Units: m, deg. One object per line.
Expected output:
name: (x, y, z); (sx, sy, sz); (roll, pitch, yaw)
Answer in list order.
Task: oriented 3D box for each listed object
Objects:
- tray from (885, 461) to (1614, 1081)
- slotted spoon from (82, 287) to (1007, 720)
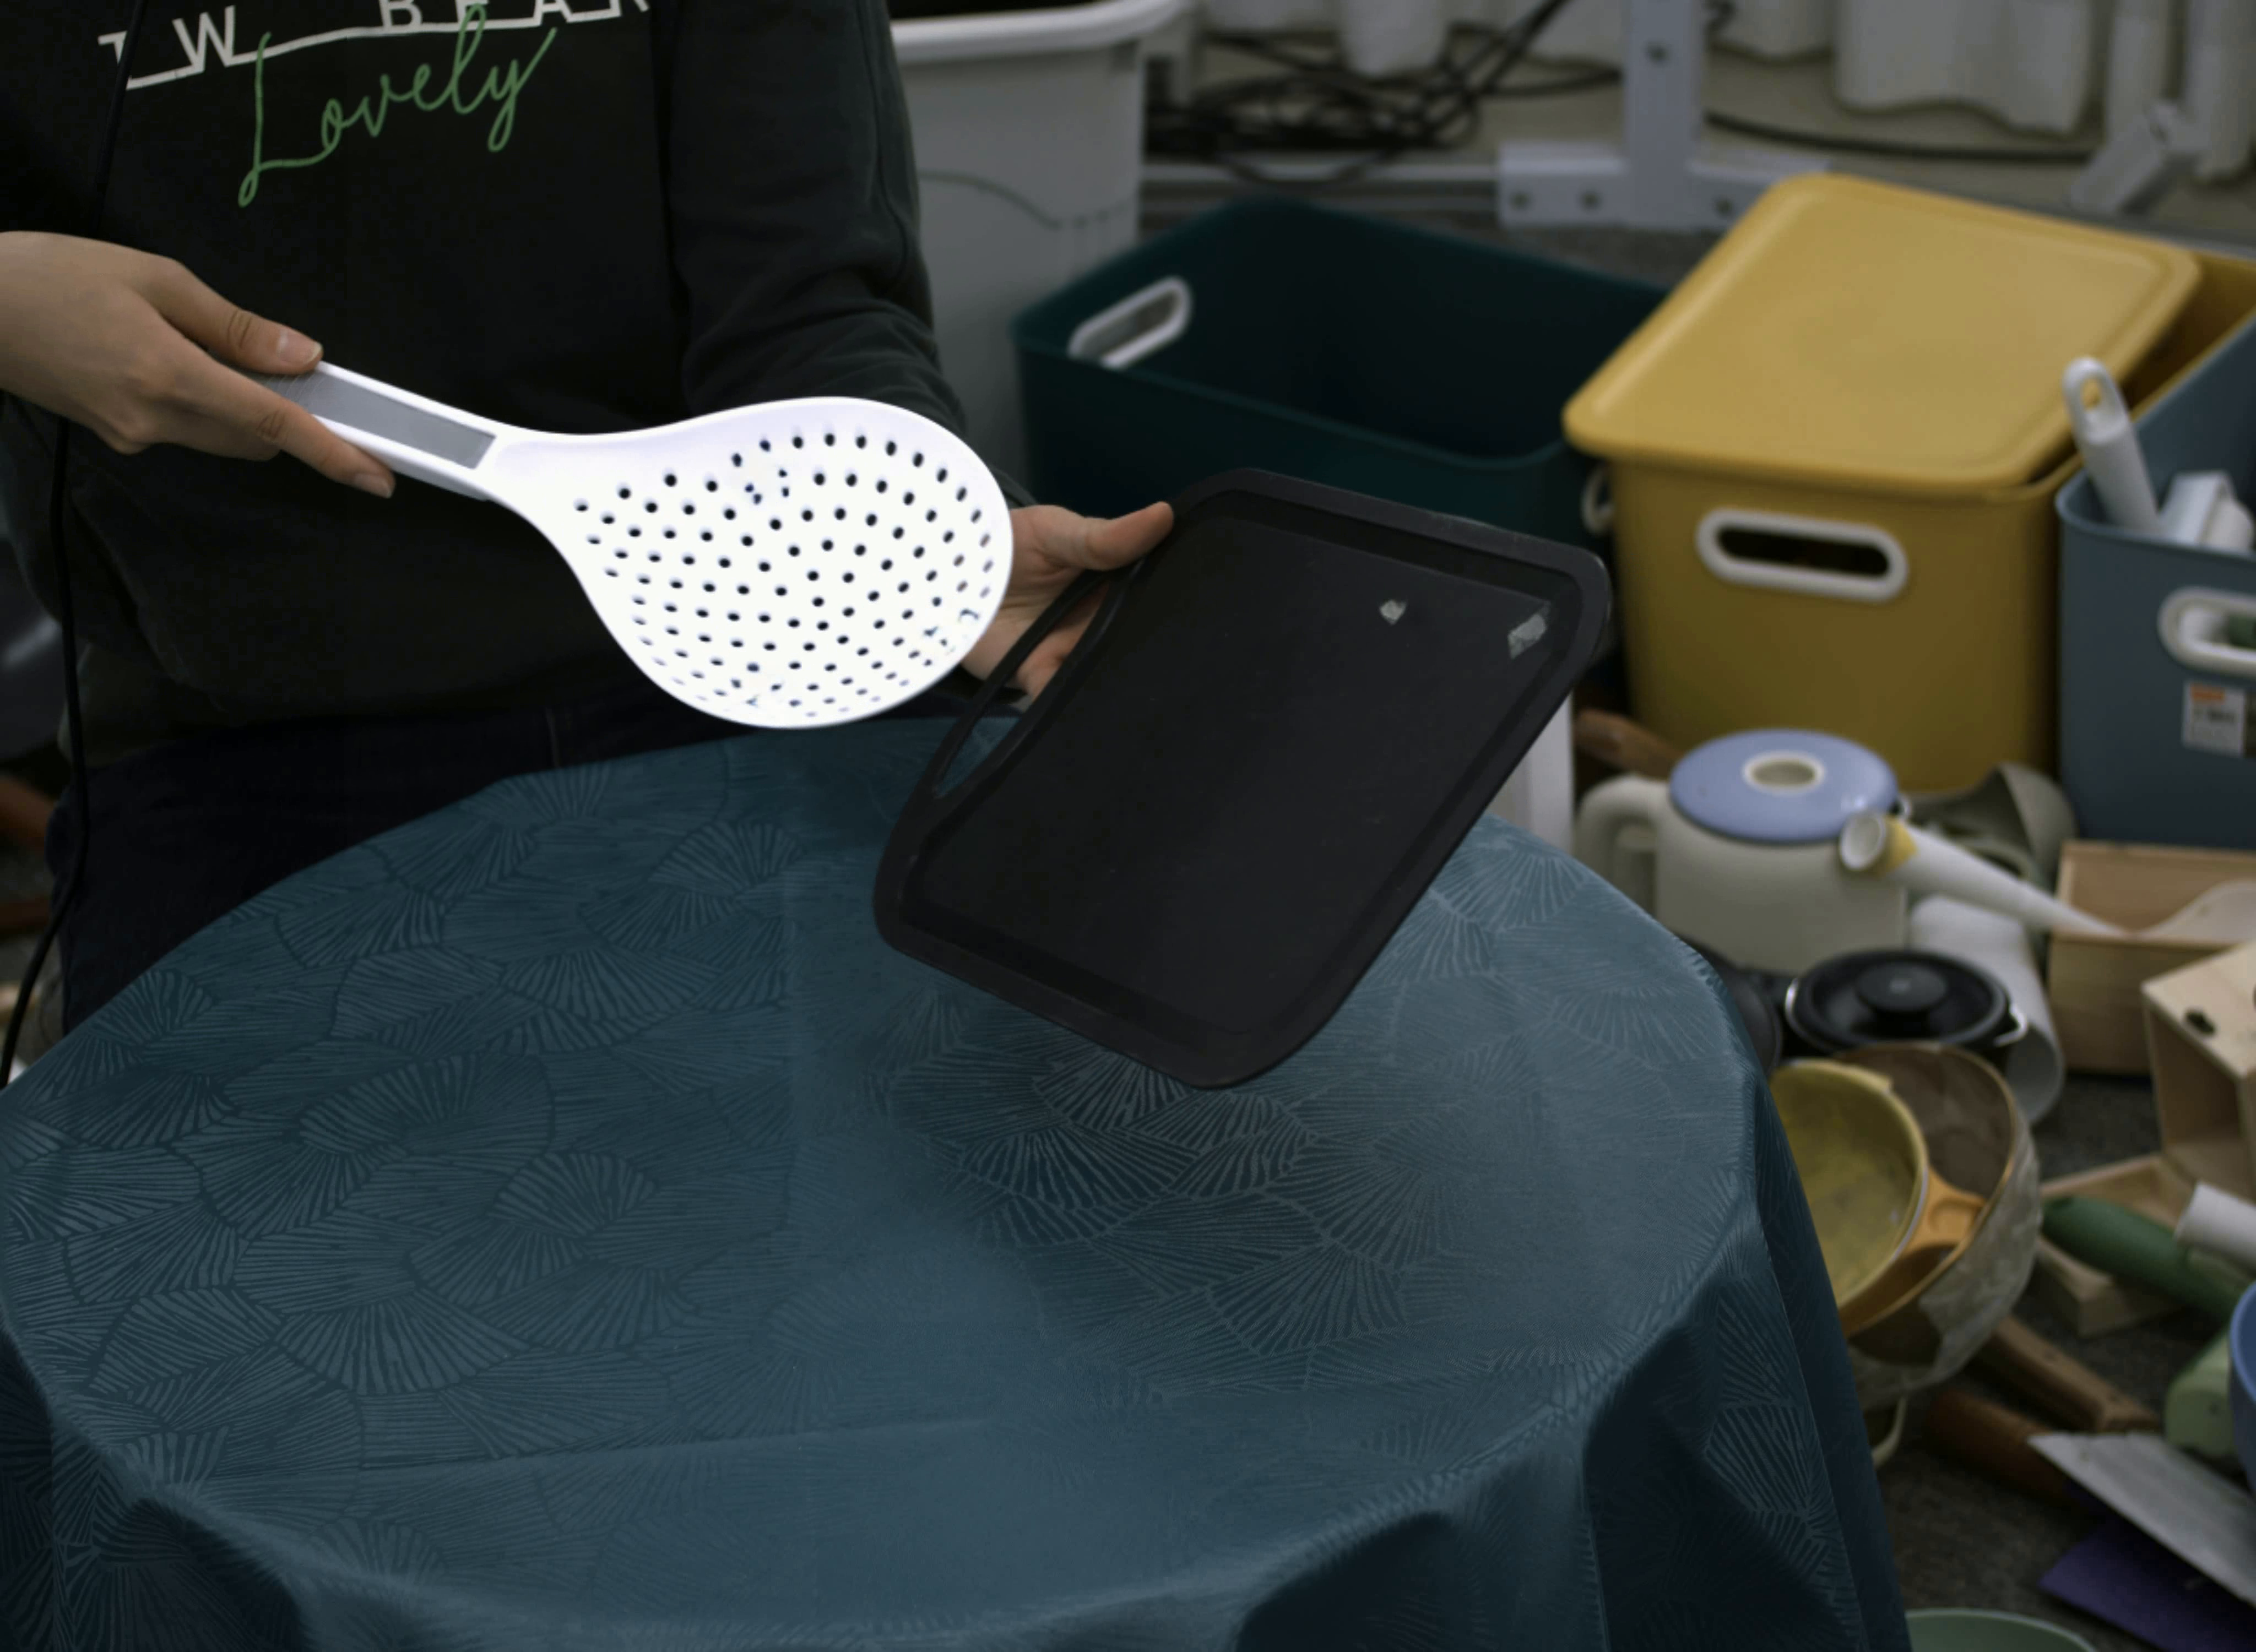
tray: (0.028, -0.026, 1.841); (0.213, 0.010, 0.325); (-53, 28, -9)
slotted spoon: (-0.203, -0.119, 1.902); (0.348, 0.045, 0.138); (22, 57, 15)
